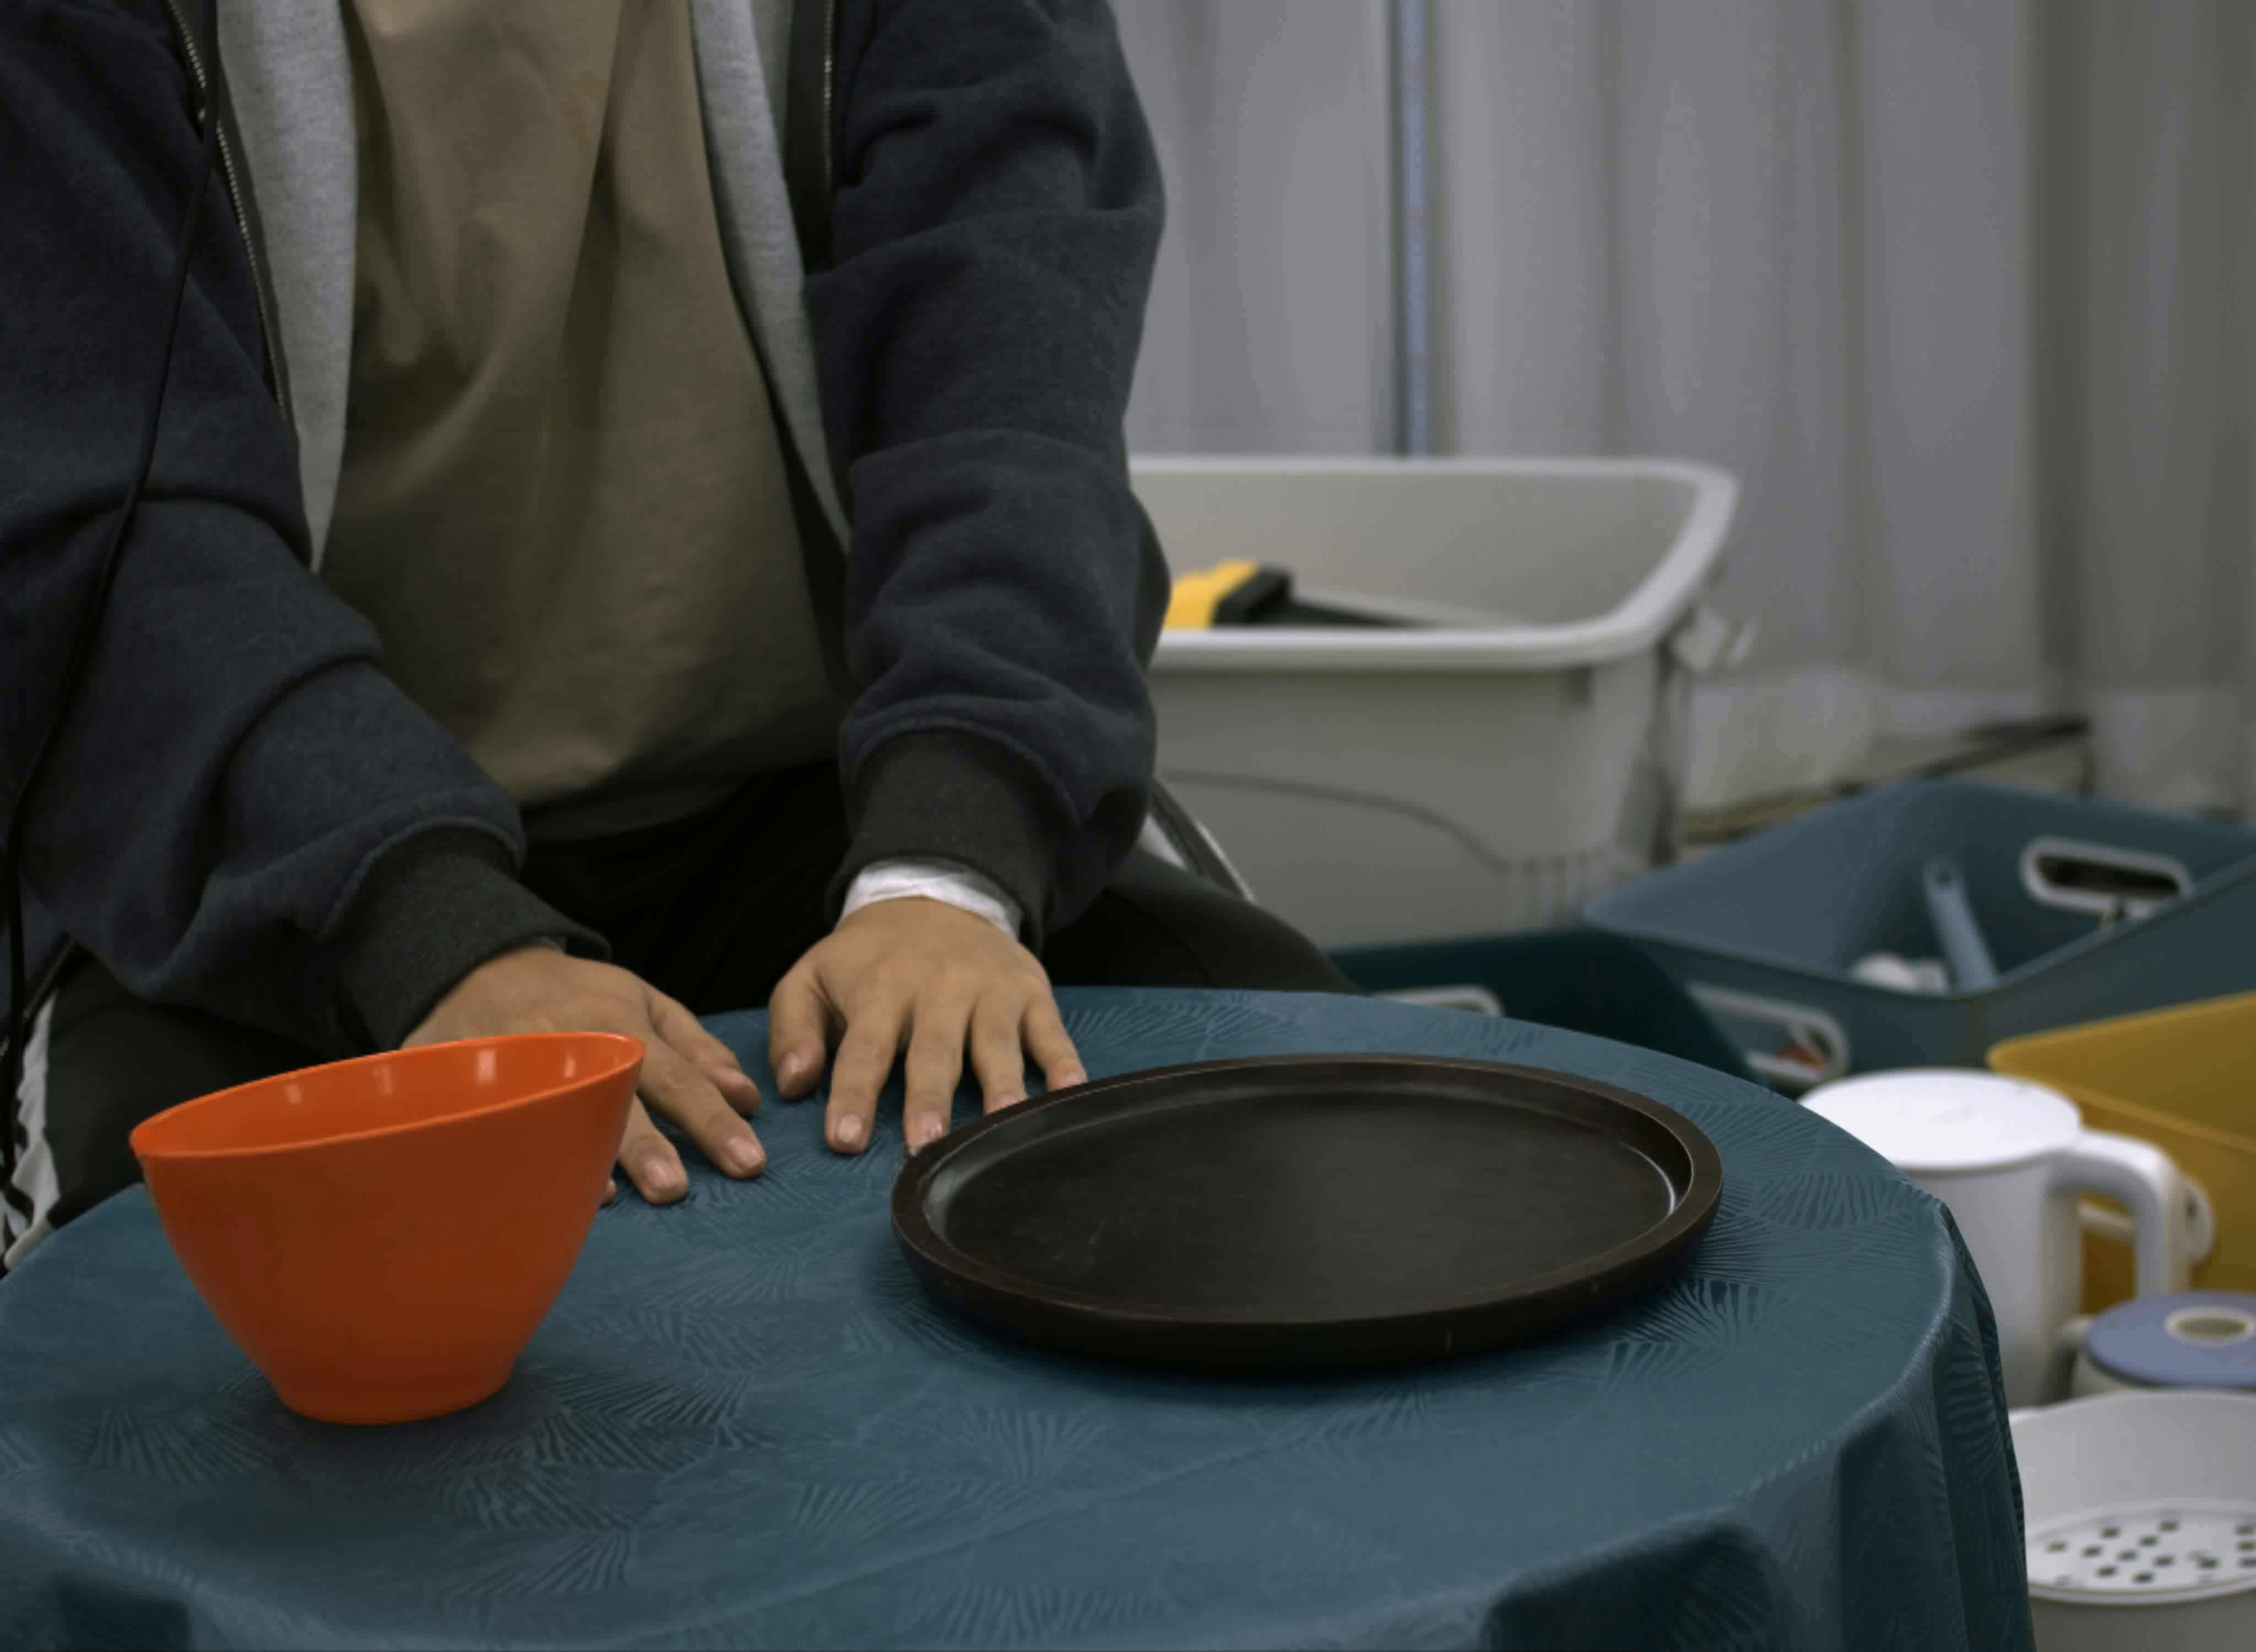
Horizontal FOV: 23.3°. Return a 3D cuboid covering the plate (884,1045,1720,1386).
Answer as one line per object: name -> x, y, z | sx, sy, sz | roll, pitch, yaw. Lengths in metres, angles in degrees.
plate -> 0.053, 0.116, 1.656 | 0.254, 0.029, 0.256 | -4, 15, 1

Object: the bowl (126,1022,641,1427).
bowl -> -0.208, 0.114, 1.561 | 0.147, 0.104, 0.149 | -4, 16, 1
